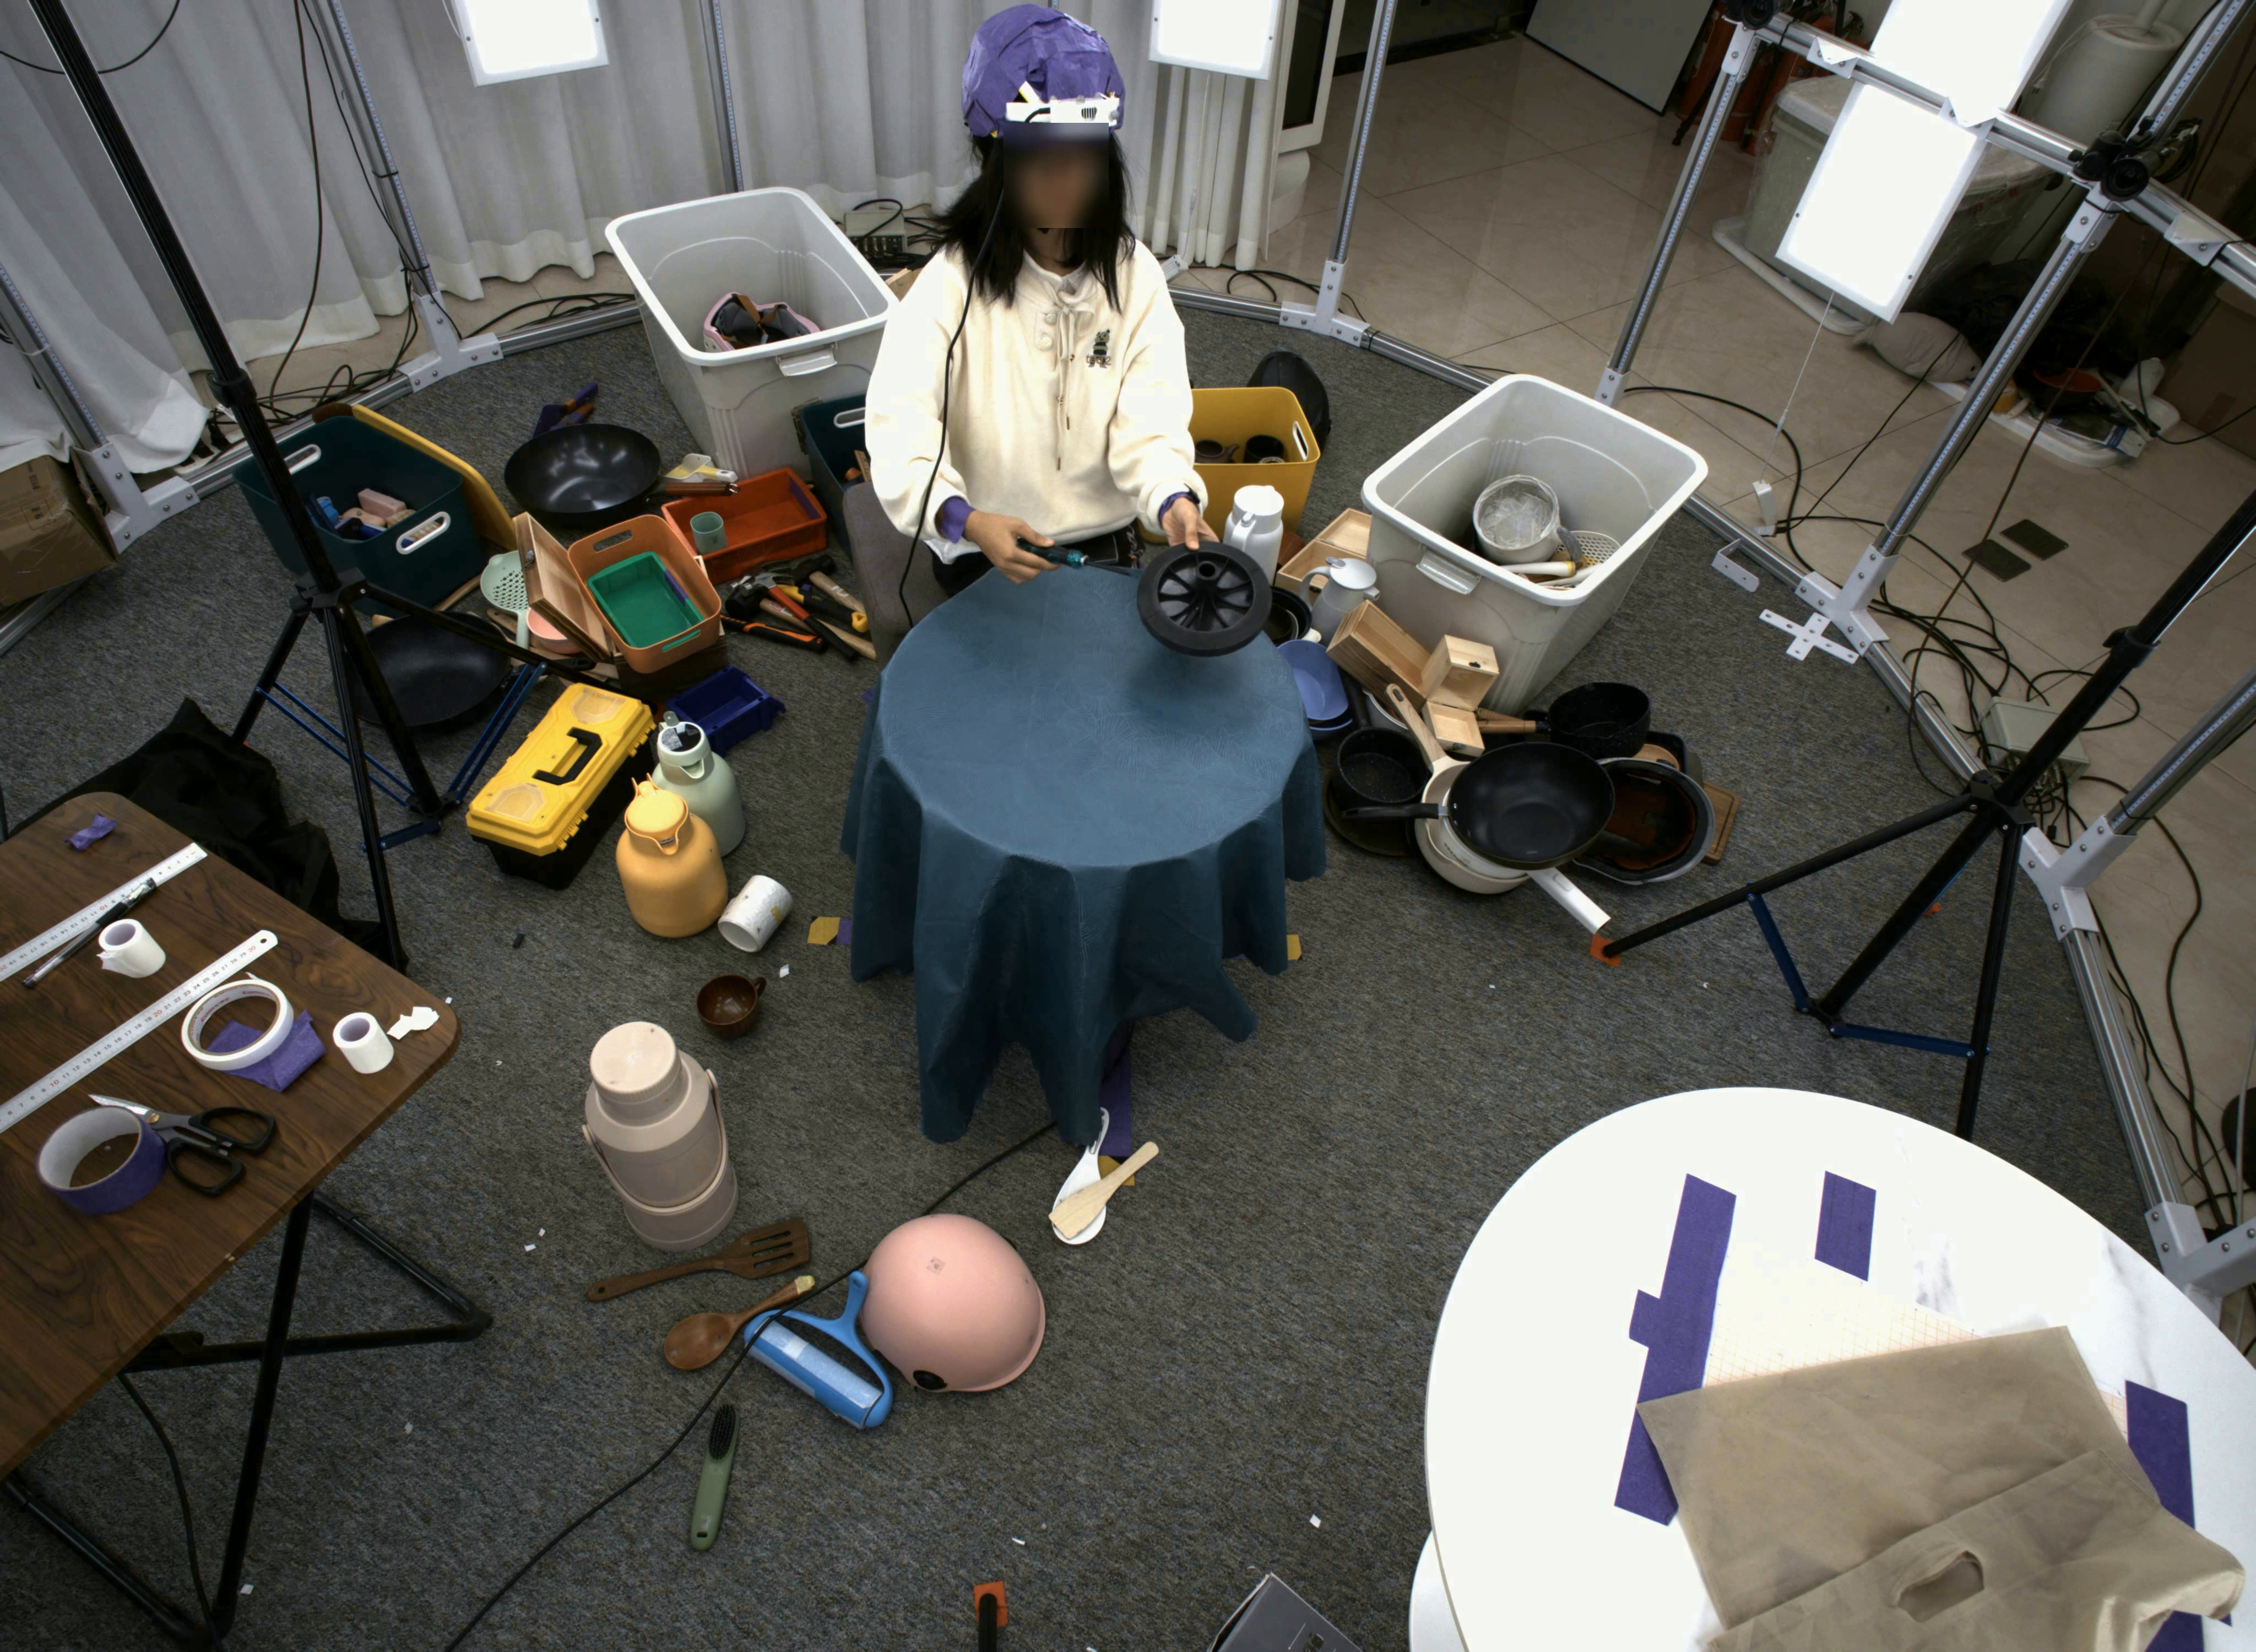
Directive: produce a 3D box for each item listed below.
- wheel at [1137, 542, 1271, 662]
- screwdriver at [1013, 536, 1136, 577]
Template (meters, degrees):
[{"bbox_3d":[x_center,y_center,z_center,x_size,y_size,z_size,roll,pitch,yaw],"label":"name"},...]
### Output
[{"bbox_3d":[0.106,-0.324,1.782,0.187,0.077,0.193,7,65,4],"label":"wheel"},{"bbox_3d":[-0.075,-0.375,1.817,0.191,0.033,0.034,18,50,19],"label":"screwdriver"}]
